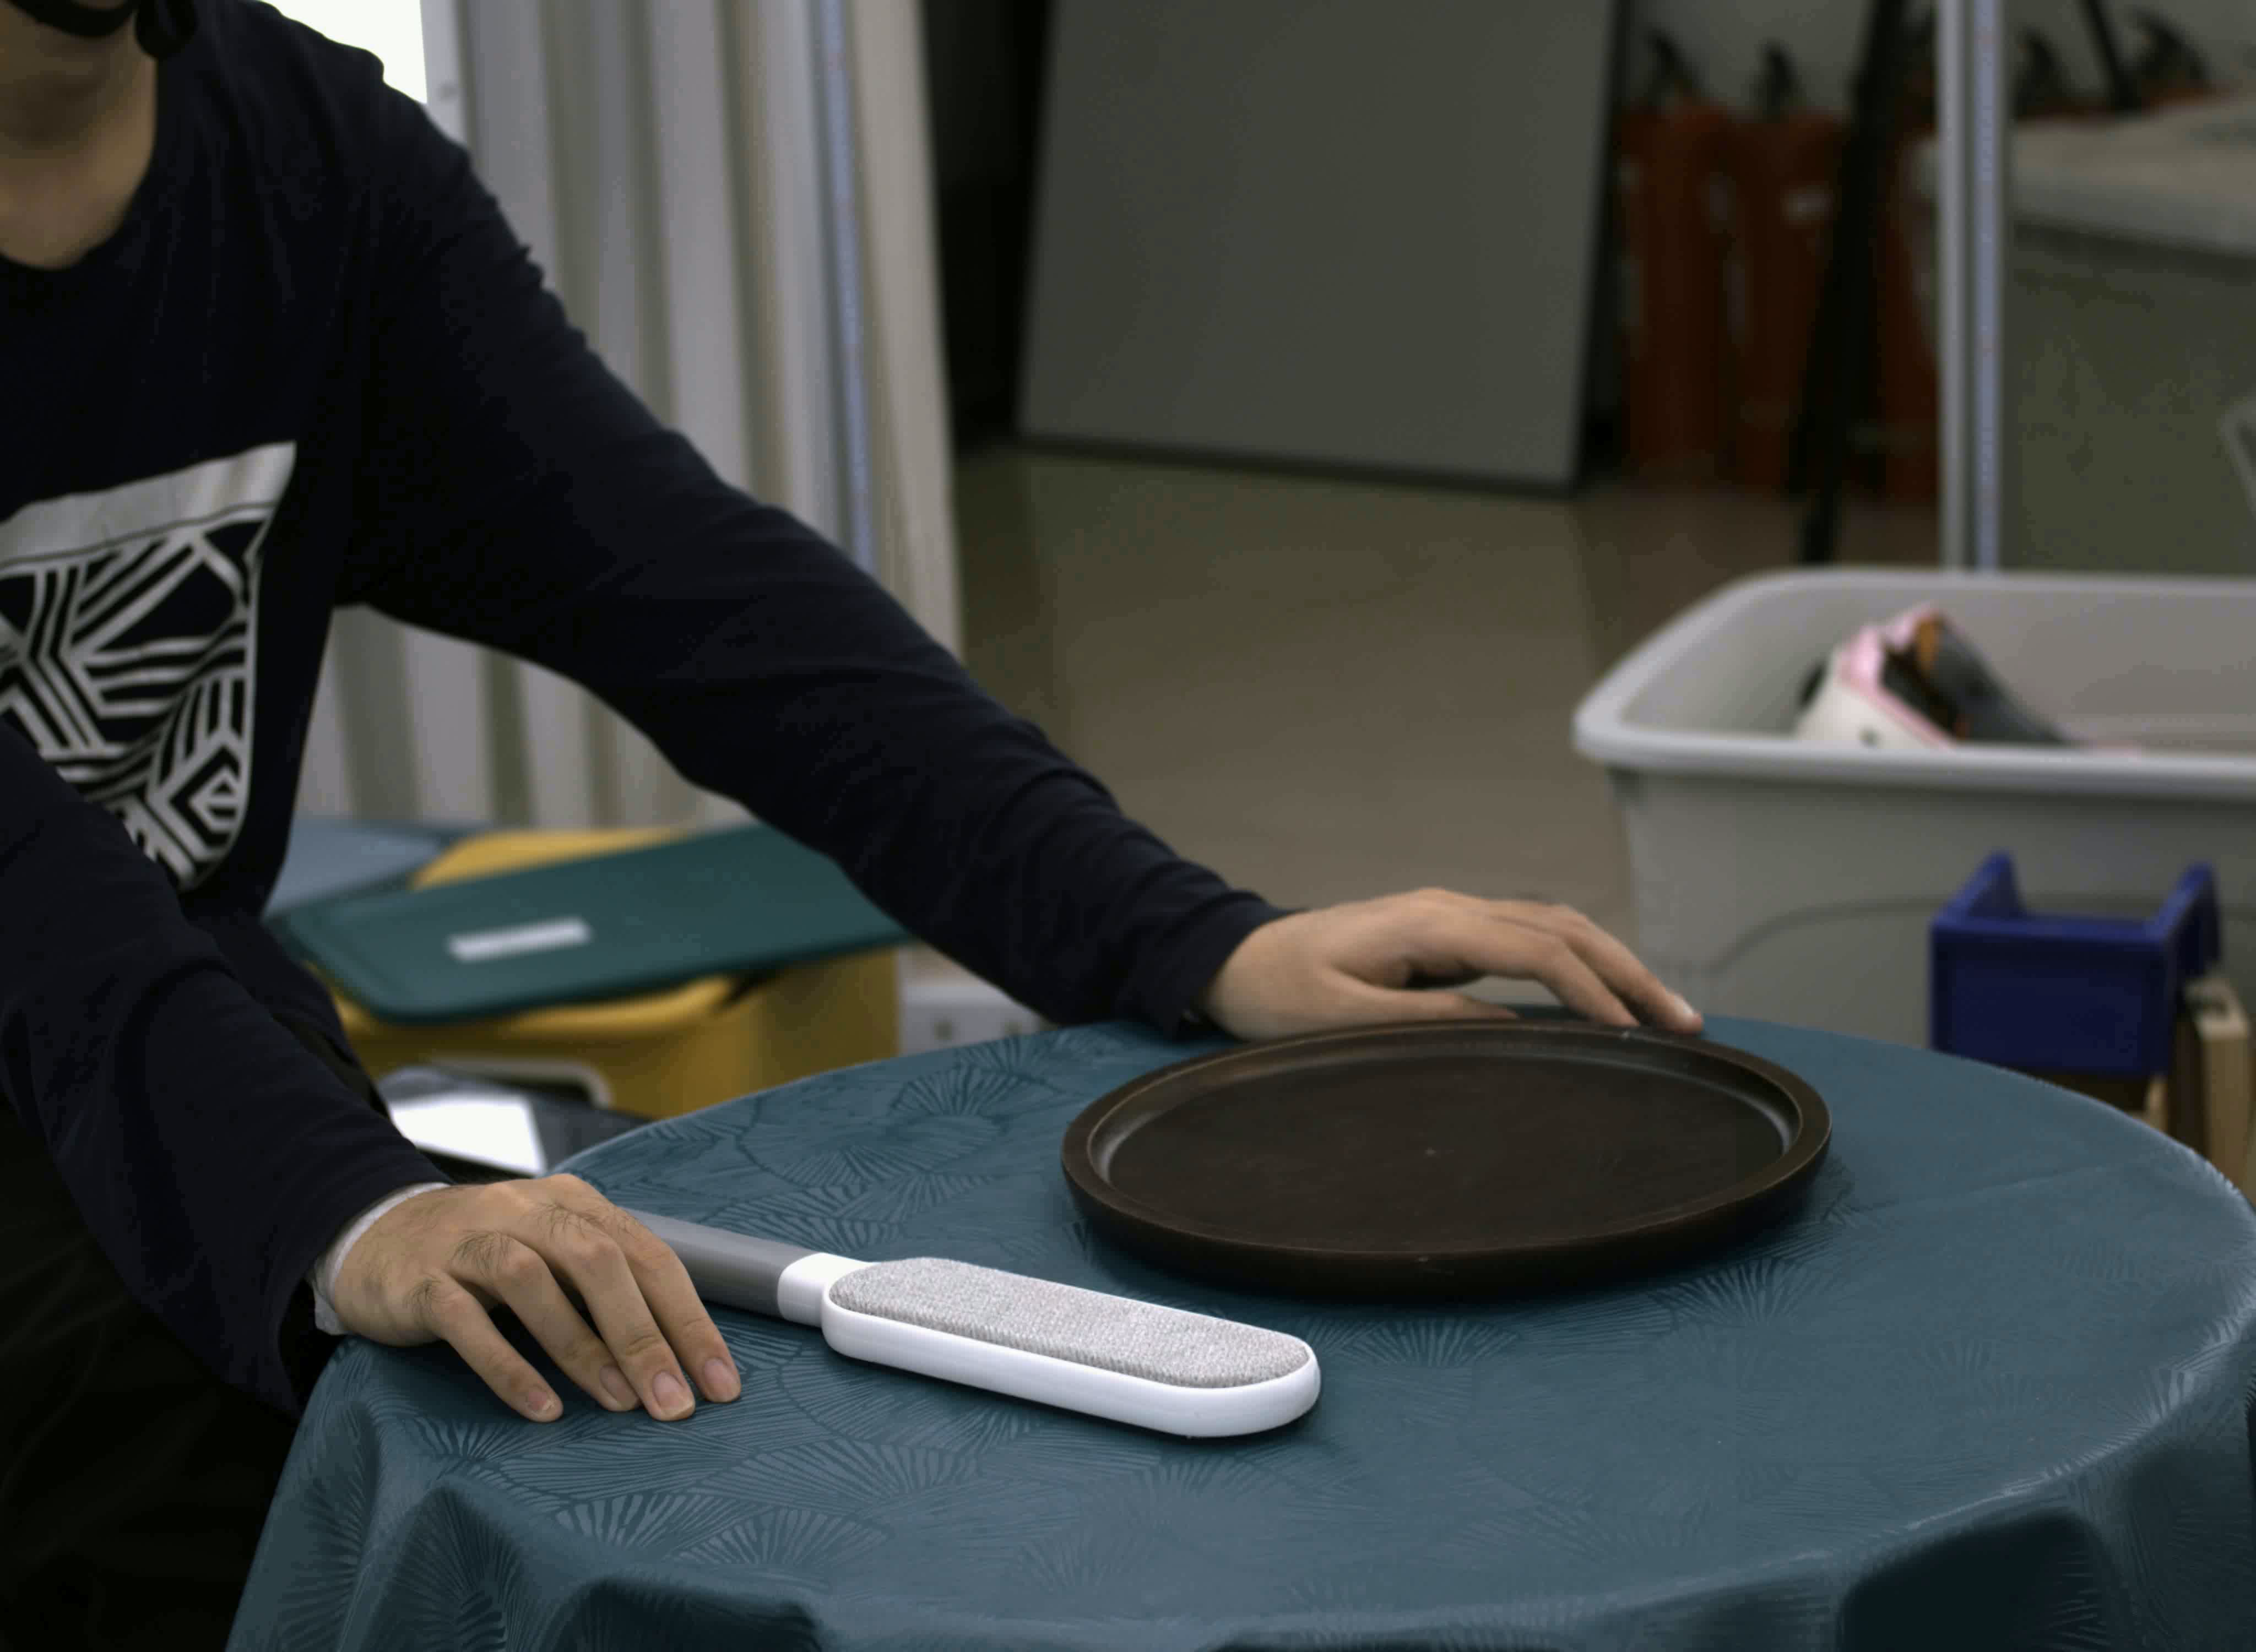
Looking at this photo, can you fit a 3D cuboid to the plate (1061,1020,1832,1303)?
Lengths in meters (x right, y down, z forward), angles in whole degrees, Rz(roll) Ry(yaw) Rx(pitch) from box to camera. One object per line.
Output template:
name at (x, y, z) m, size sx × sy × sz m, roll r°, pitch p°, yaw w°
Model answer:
plate at (0.103, 0.107, 1.751) m, size 0.251 × 0.029 × 0.255 m, roll -3°, pitch 13°, yaw 0°

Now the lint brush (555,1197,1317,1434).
lint brush at (-0.065, 0.145, 1.640) m, size 0.311 × 0.021 × 0.059 m, roll 8°, pitch 23°, yaw 42°
